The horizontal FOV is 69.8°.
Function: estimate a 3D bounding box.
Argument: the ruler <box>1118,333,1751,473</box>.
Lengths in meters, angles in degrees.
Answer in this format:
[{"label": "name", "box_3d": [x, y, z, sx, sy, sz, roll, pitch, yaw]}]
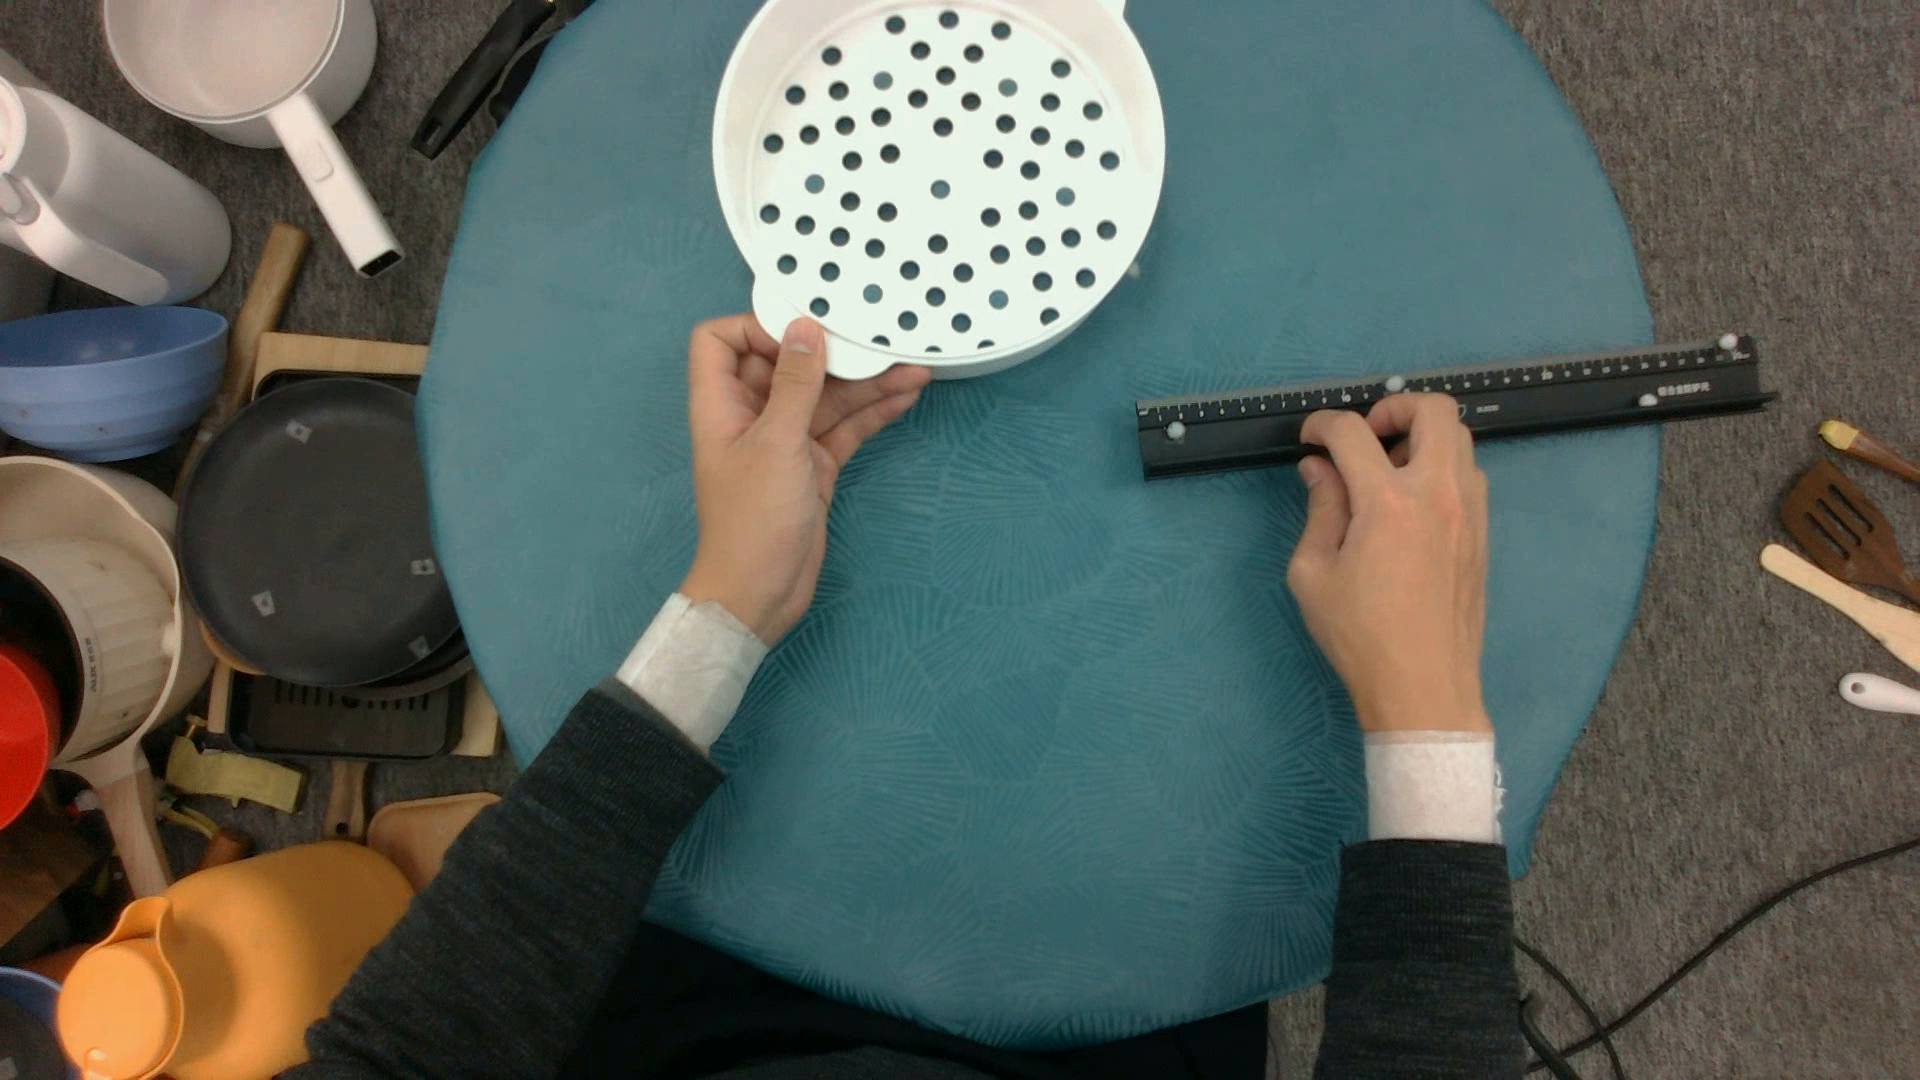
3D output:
[{"label": "ruler", "box_3d": [0.231, -0.068, 0.661, 0.313, 0.017, 0.039, -7, 85, -6]}]

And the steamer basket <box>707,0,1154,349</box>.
[{"label": "steamer basket", "box_3d": [-0.014, -0.189, 0.646, 0.202, 0.069, 0.231, 30, 83, 1]}]
